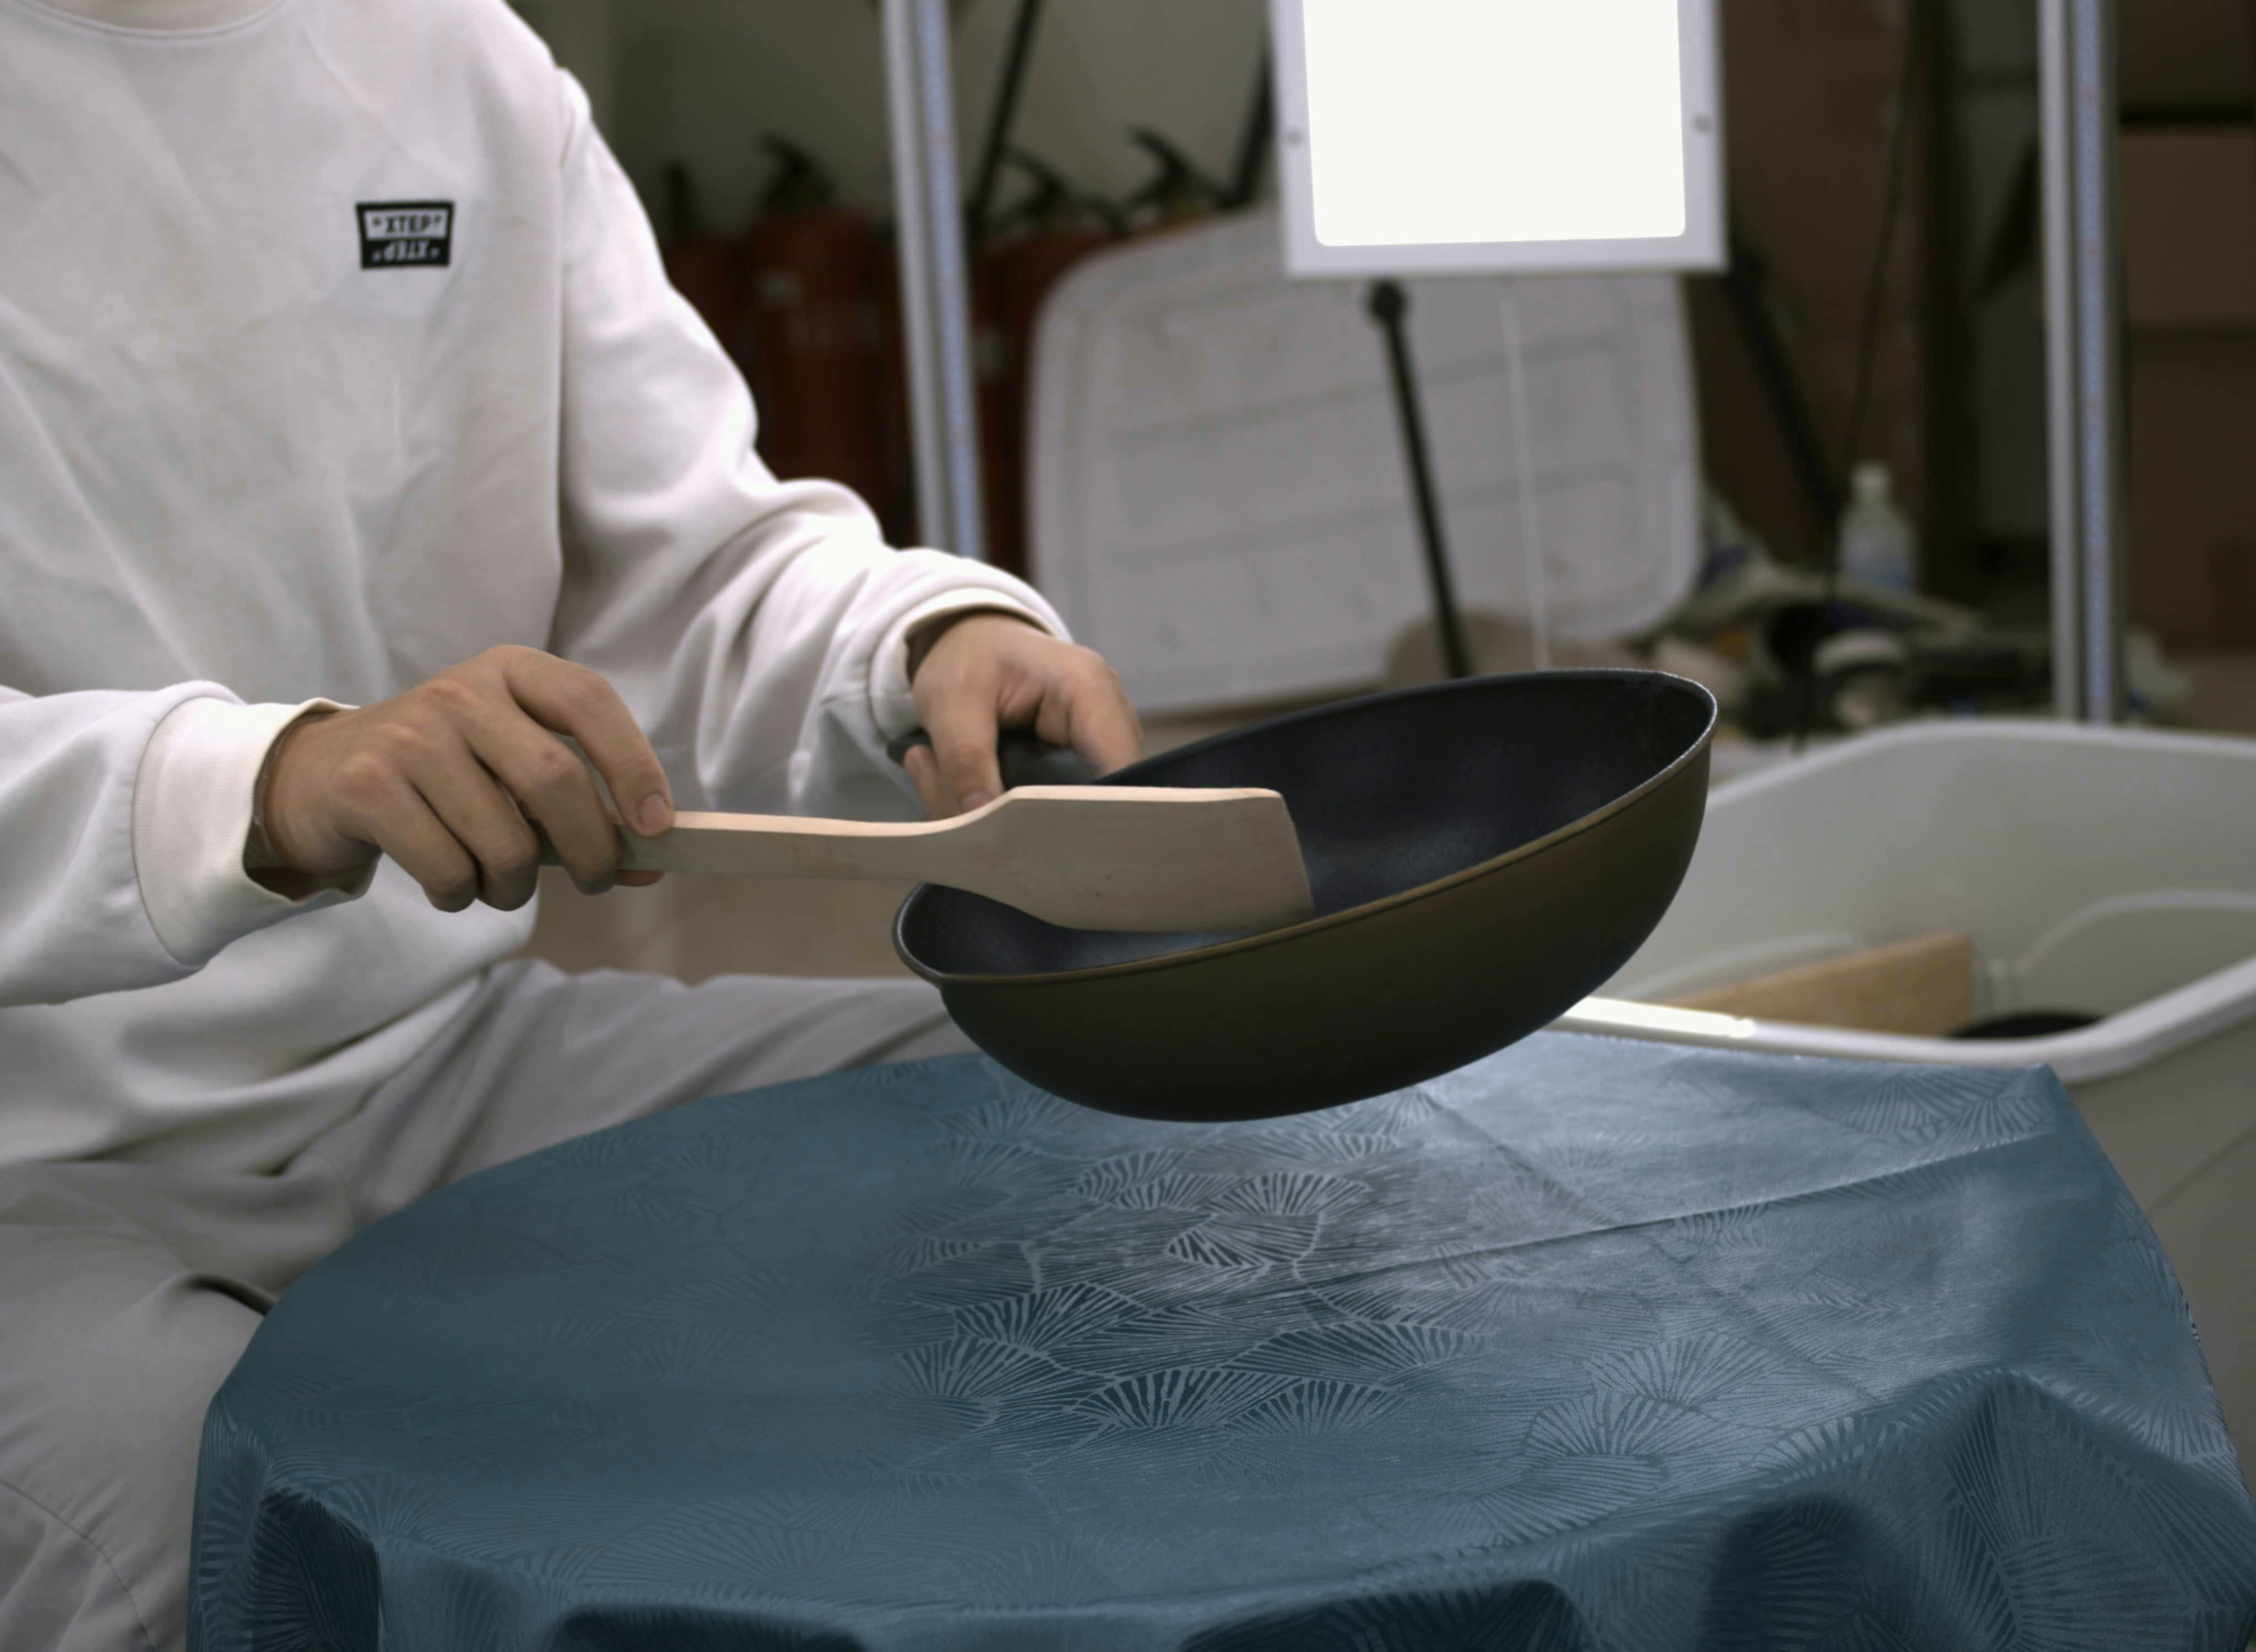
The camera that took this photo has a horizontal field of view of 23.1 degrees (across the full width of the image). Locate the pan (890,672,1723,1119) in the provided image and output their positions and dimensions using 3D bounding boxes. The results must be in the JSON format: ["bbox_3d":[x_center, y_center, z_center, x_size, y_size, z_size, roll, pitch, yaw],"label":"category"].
[{"bbox_3d":[0.028,0.021,1.890,0.283,0.087,0.471,-21,14,-21],"label":"pan"}]

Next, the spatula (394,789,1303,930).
[{"bbox_3d":[-0.092,0.007,1.720,0.296,0.072,0.010,2,56,16],"label":"spatula"}]
